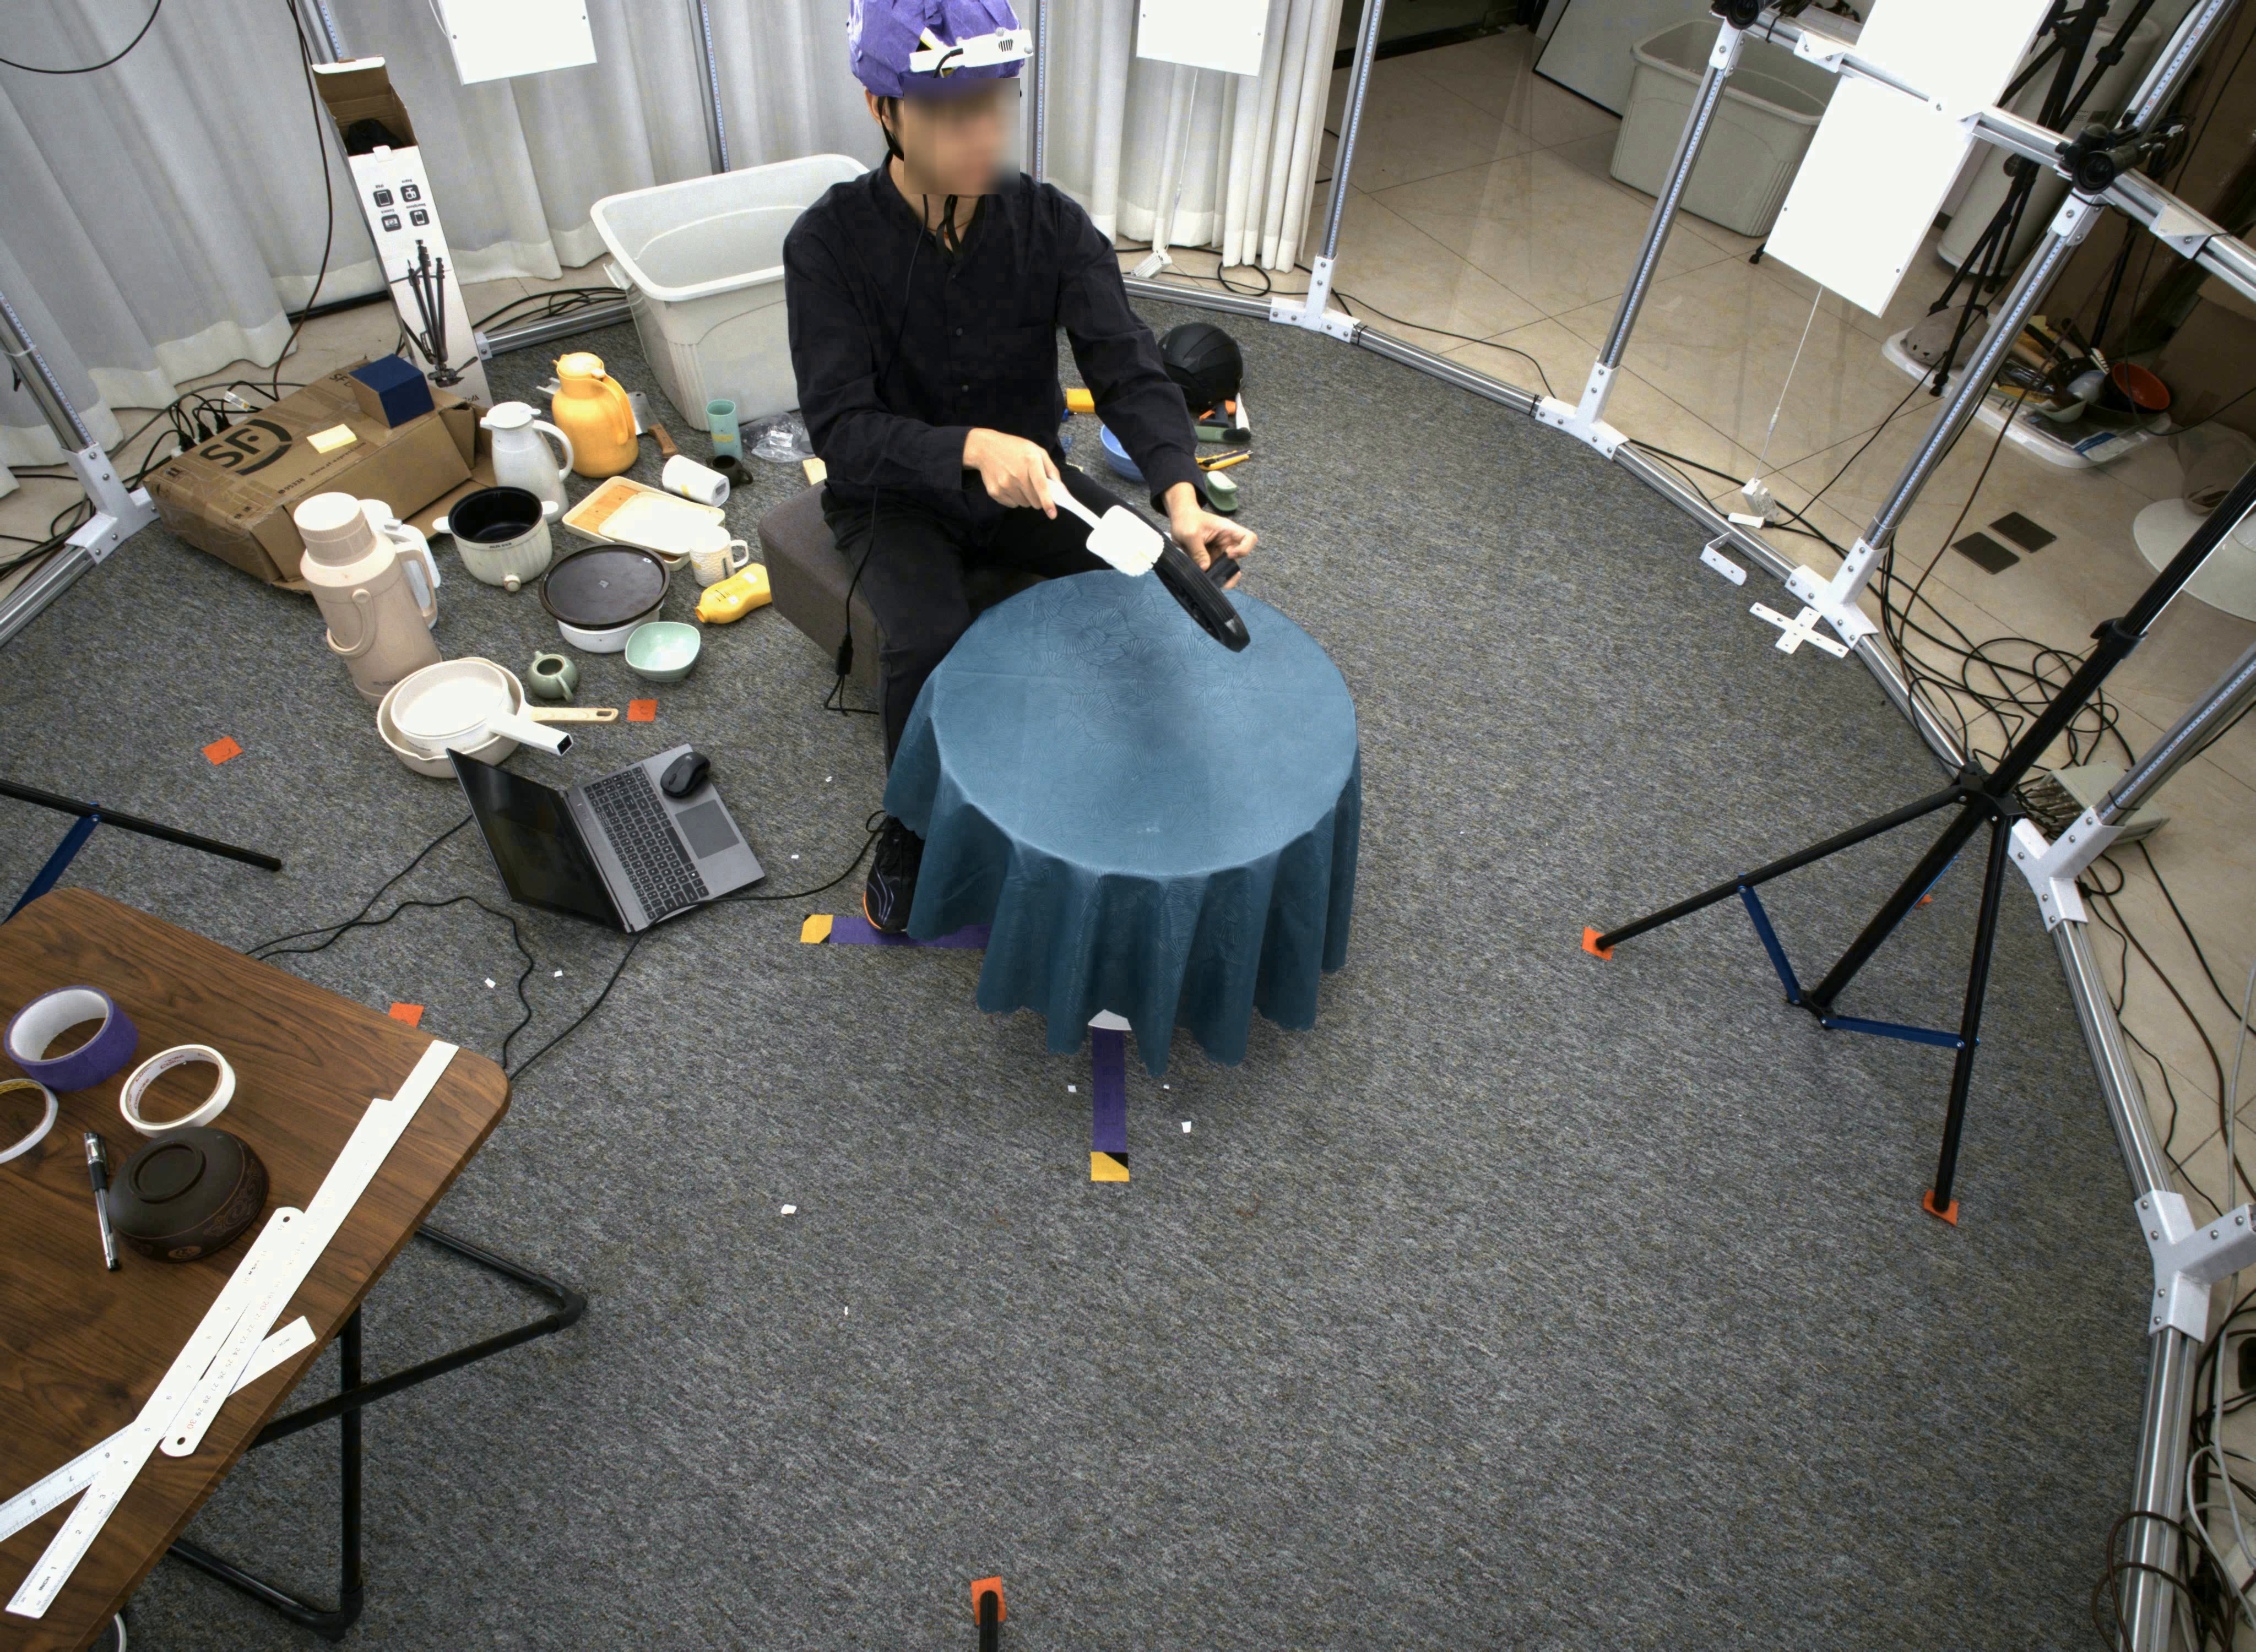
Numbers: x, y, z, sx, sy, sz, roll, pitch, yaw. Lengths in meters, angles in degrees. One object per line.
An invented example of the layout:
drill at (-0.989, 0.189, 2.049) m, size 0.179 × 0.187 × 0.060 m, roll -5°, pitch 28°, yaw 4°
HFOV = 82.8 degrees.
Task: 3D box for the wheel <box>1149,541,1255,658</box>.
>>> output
wheel at (0.110, -0.308, 1.664) m, size 0.079 × 0.185 × 0.192 m, roll -43°, pitch 74°, yaw 1°

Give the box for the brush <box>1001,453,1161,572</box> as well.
brush at (-0.054, -0.412, 1.682) m, size 0.083 × 0.082 × 0.332 m, roll -30°, pitch 45°, yaw -19°
